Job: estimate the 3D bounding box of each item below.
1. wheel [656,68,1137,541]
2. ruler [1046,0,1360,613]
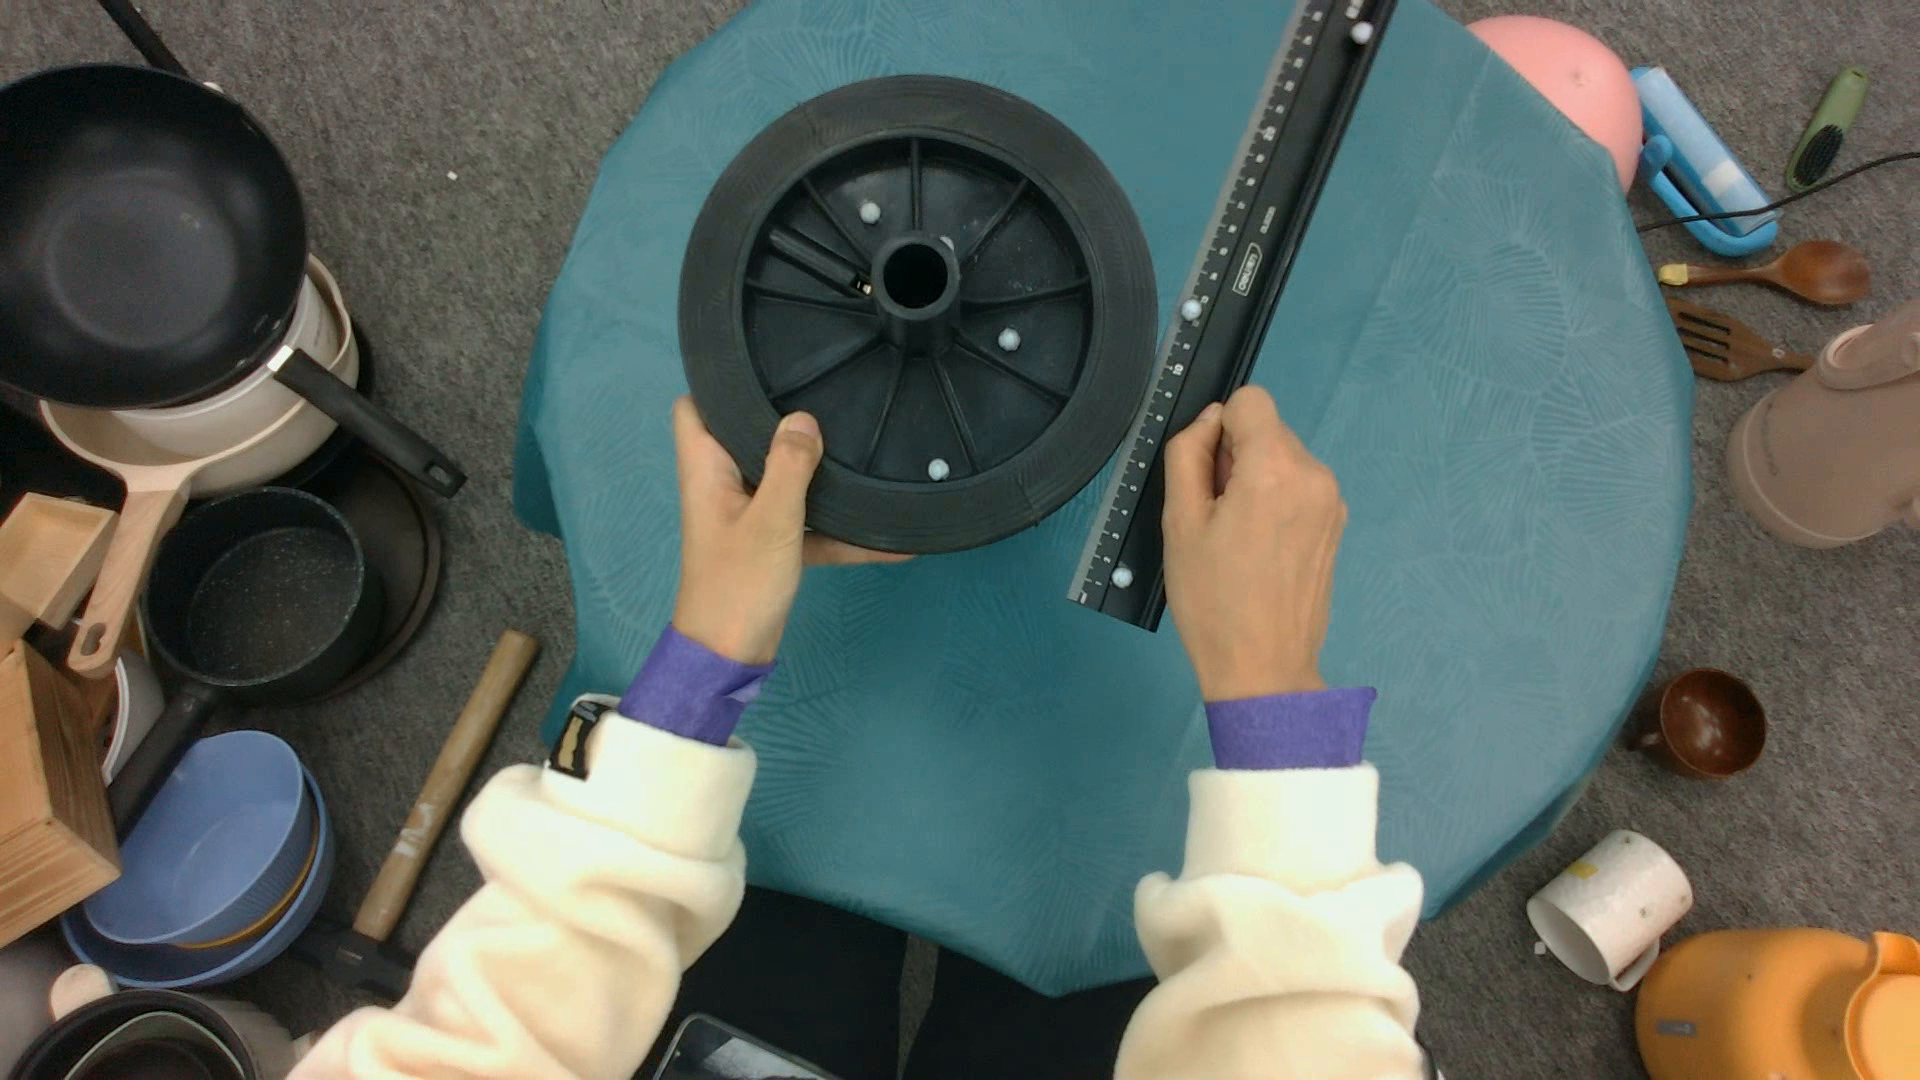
[{"bbox_3d":[-0.023,-0.094,0.525,0.190,0.079,0.187,7,87,-2],"label":"wheel"},{"bbox_3d":[0.106,-0.122,0.548,0.039,0.017,0.312,21,87,-3],"label":"ruler"}]
